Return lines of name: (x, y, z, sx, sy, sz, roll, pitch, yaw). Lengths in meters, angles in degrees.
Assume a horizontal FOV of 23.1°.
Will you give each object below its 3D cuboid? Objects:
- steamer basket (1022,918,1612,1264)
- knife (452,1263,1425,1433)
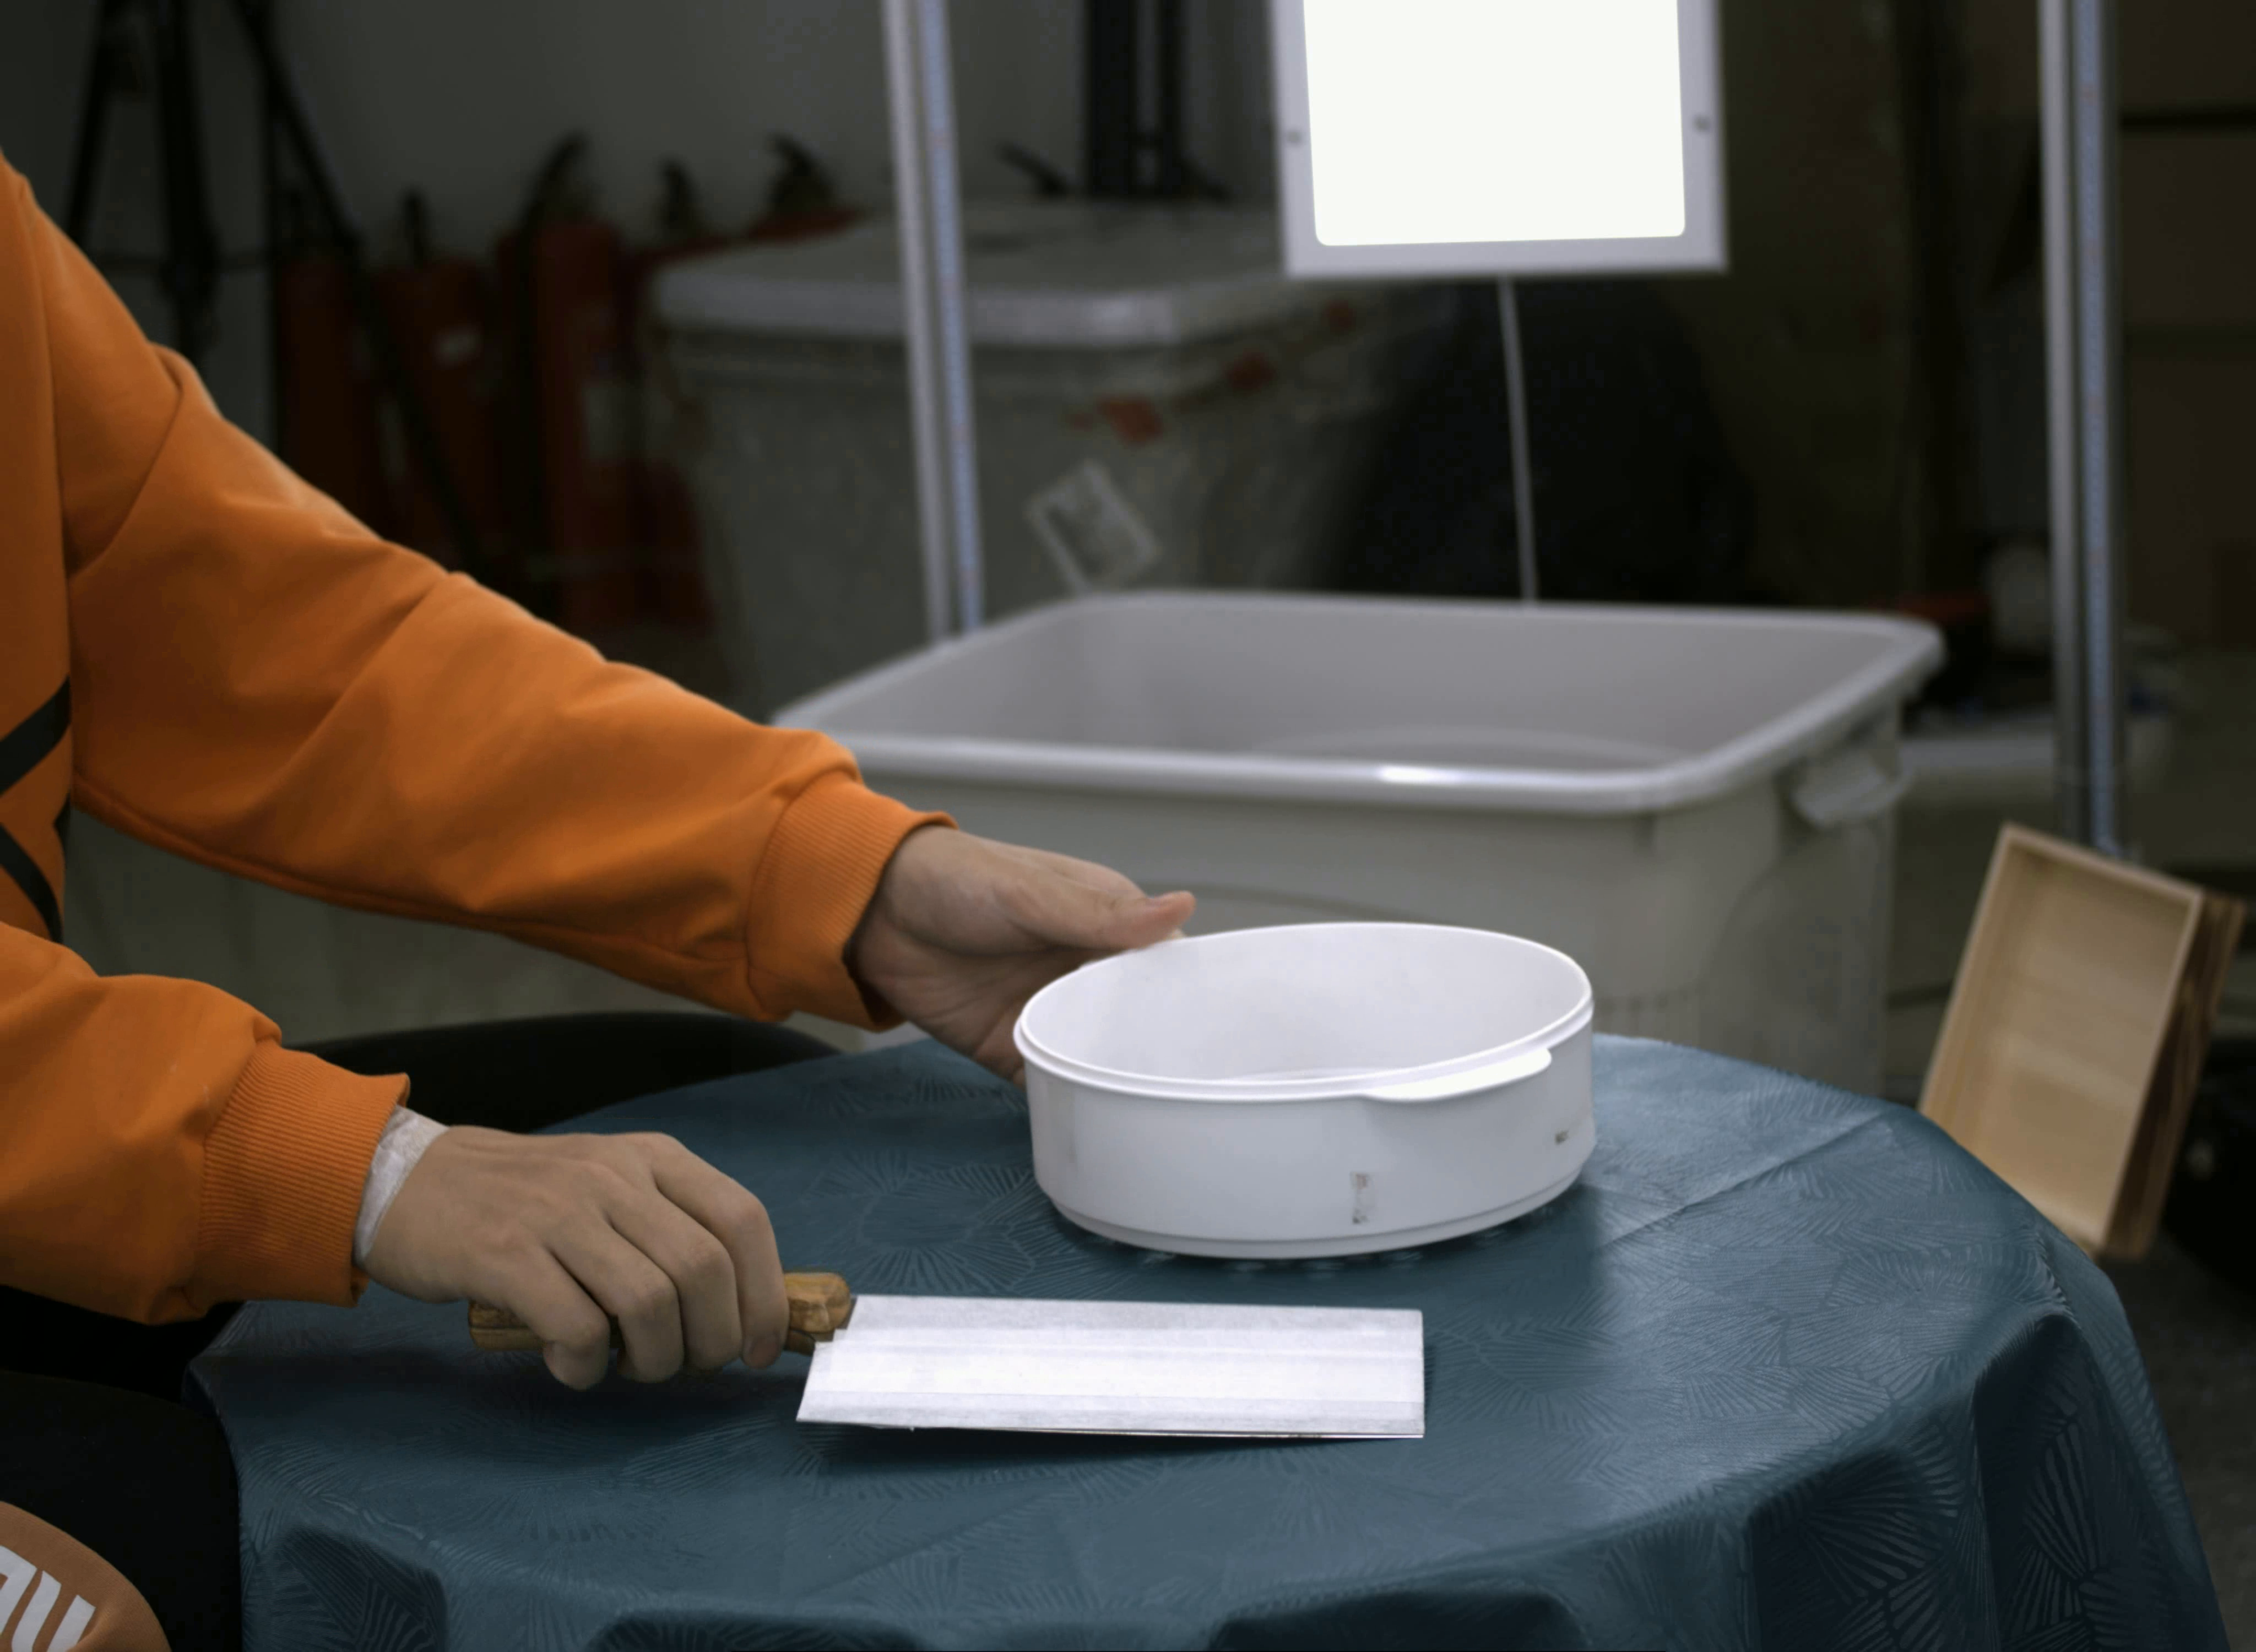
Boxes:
steamer basket: (0.066, 0.090, 1.873, 0.197, 0.069, 0.234, -13, 17, -26)
knife: (-0.061, 0.162, 1.695, 0.306, 0.021, 0.092, 1, 22, 5)
